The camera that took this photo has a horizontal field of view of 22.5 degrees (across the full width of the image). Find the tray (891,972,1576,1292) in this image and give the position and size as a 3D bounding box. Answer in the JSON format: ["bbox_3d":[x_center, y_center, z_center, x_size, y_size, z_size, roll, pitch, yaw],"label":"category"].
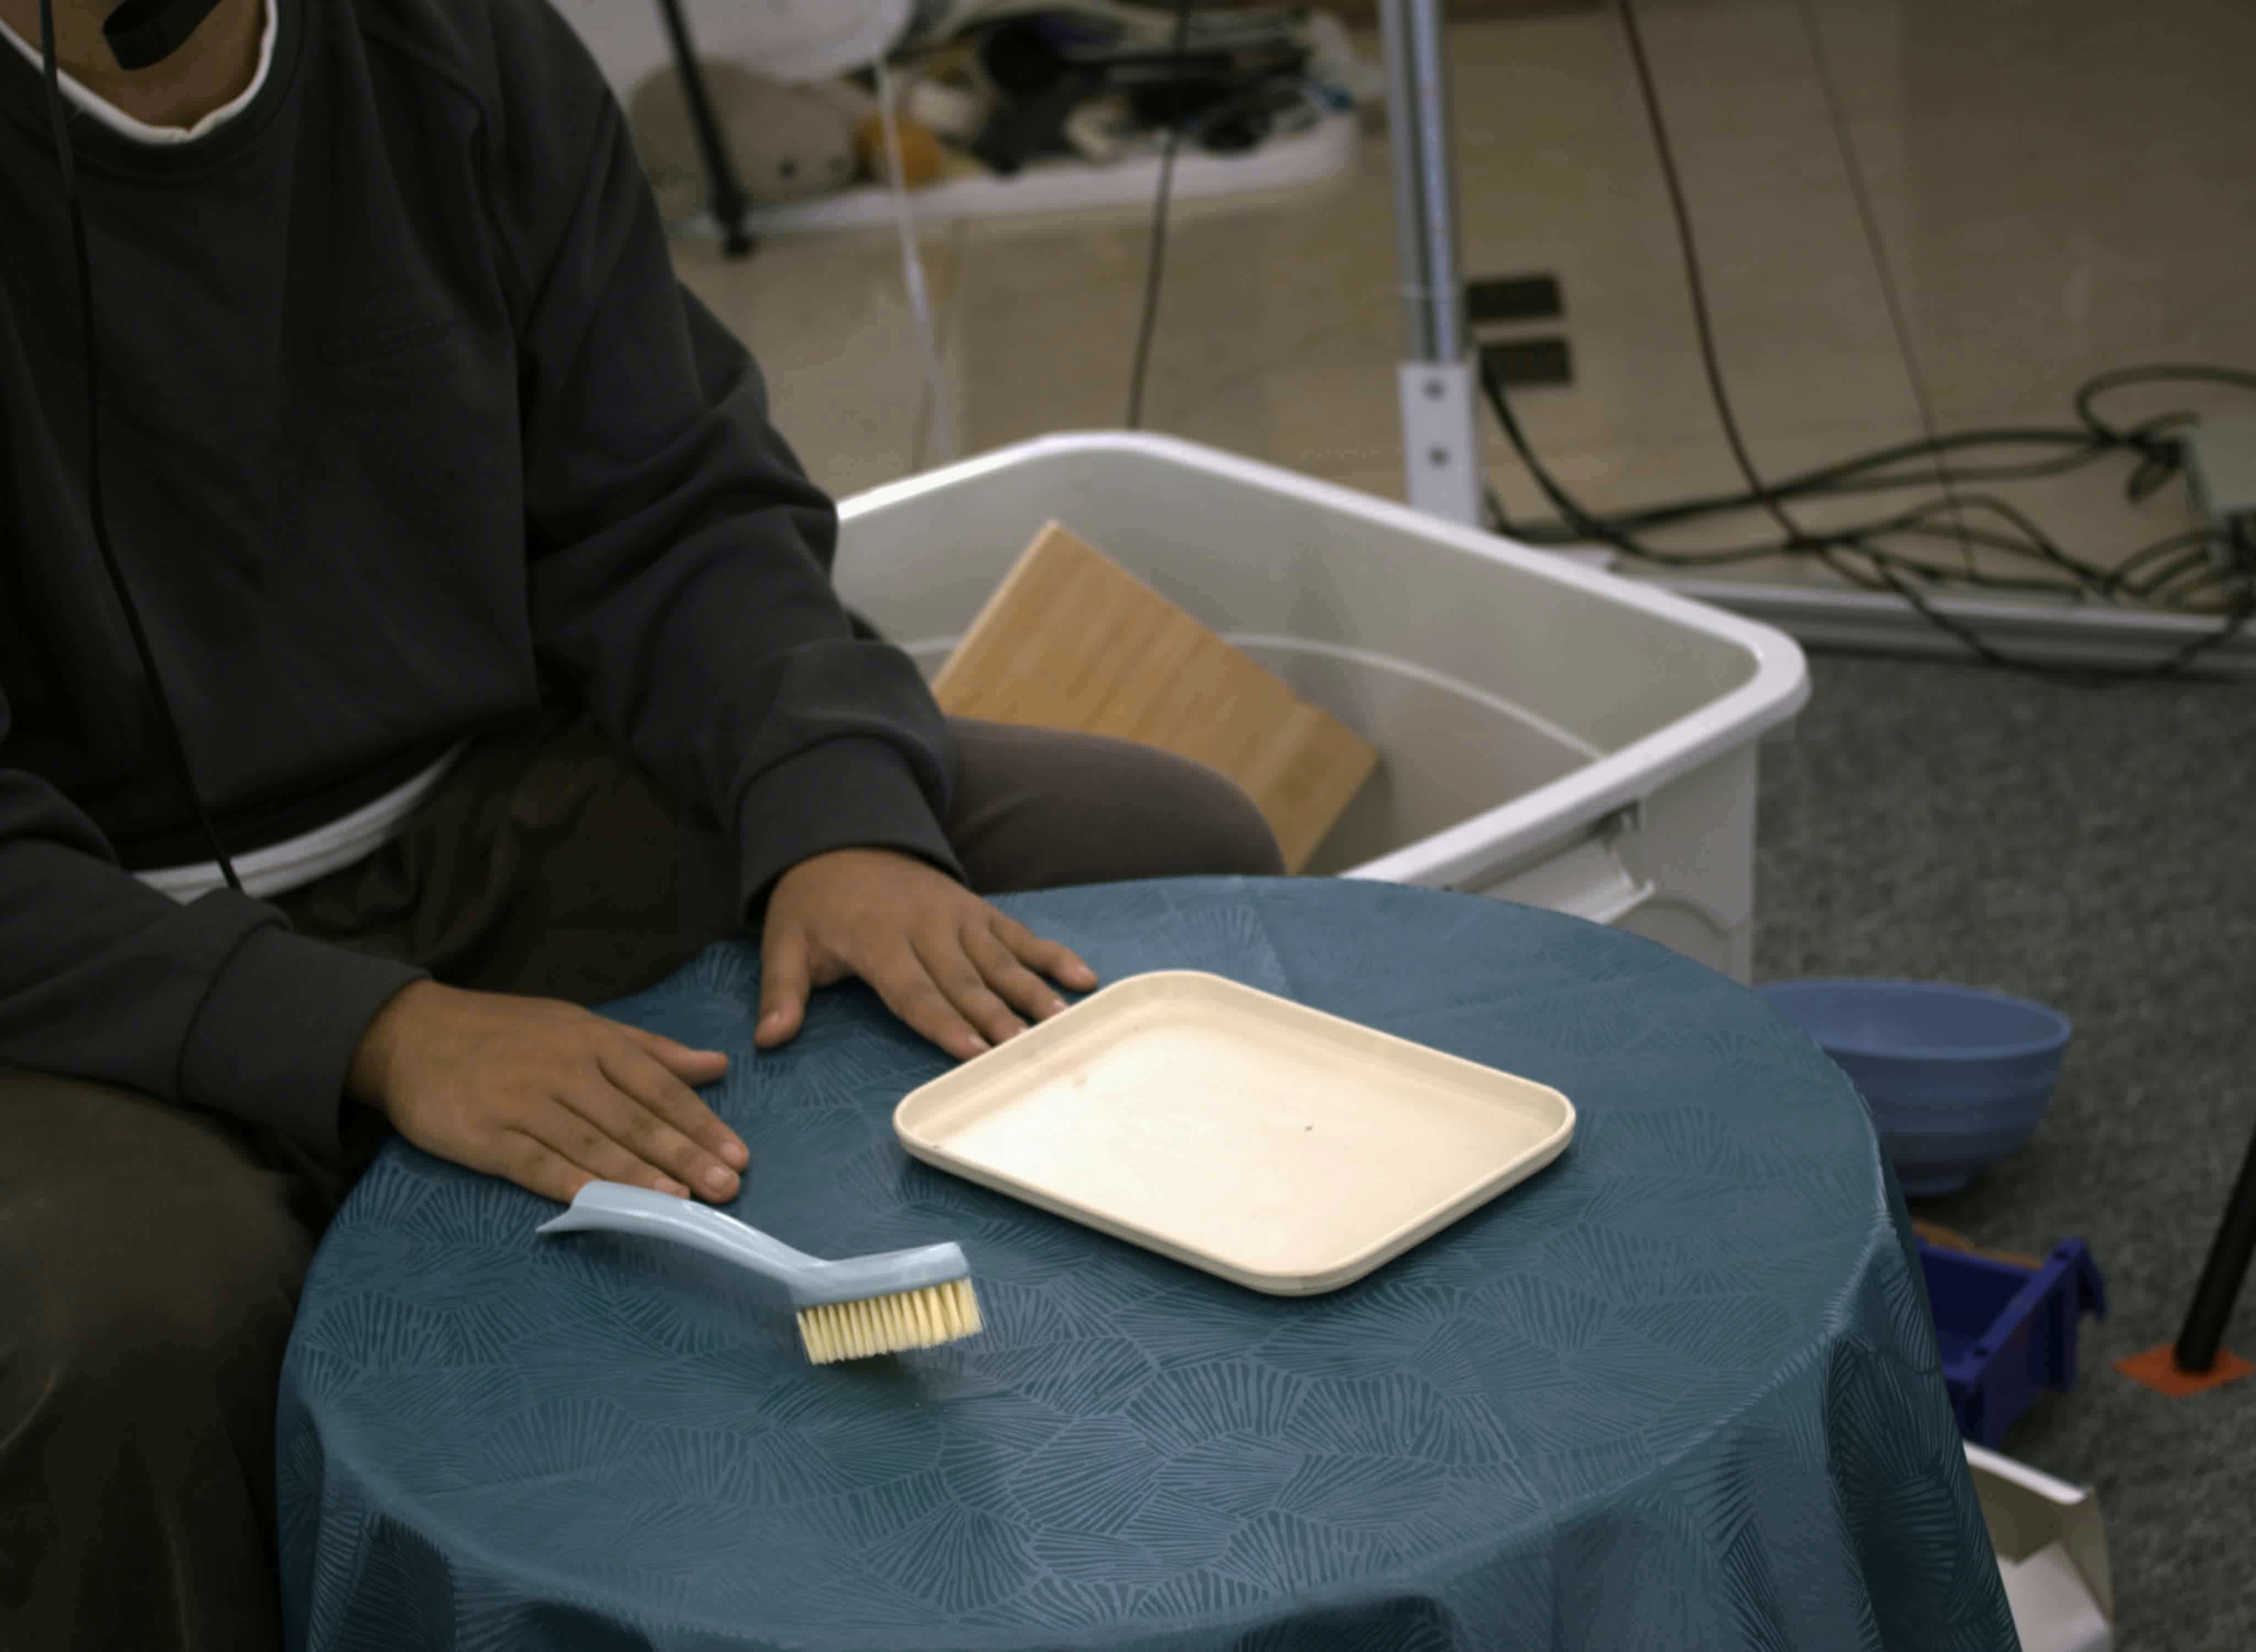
[{"bbox_3d":[0.039,0.116,2.166,0.238,0.018,0.170,18,33,42],"label":"tray"}]

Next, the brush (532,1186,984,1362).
[{"bbox_3d":[-0.140,0.165,2.088,0.228,0.050,0.037,6,14,42],"label":"brush"}]
